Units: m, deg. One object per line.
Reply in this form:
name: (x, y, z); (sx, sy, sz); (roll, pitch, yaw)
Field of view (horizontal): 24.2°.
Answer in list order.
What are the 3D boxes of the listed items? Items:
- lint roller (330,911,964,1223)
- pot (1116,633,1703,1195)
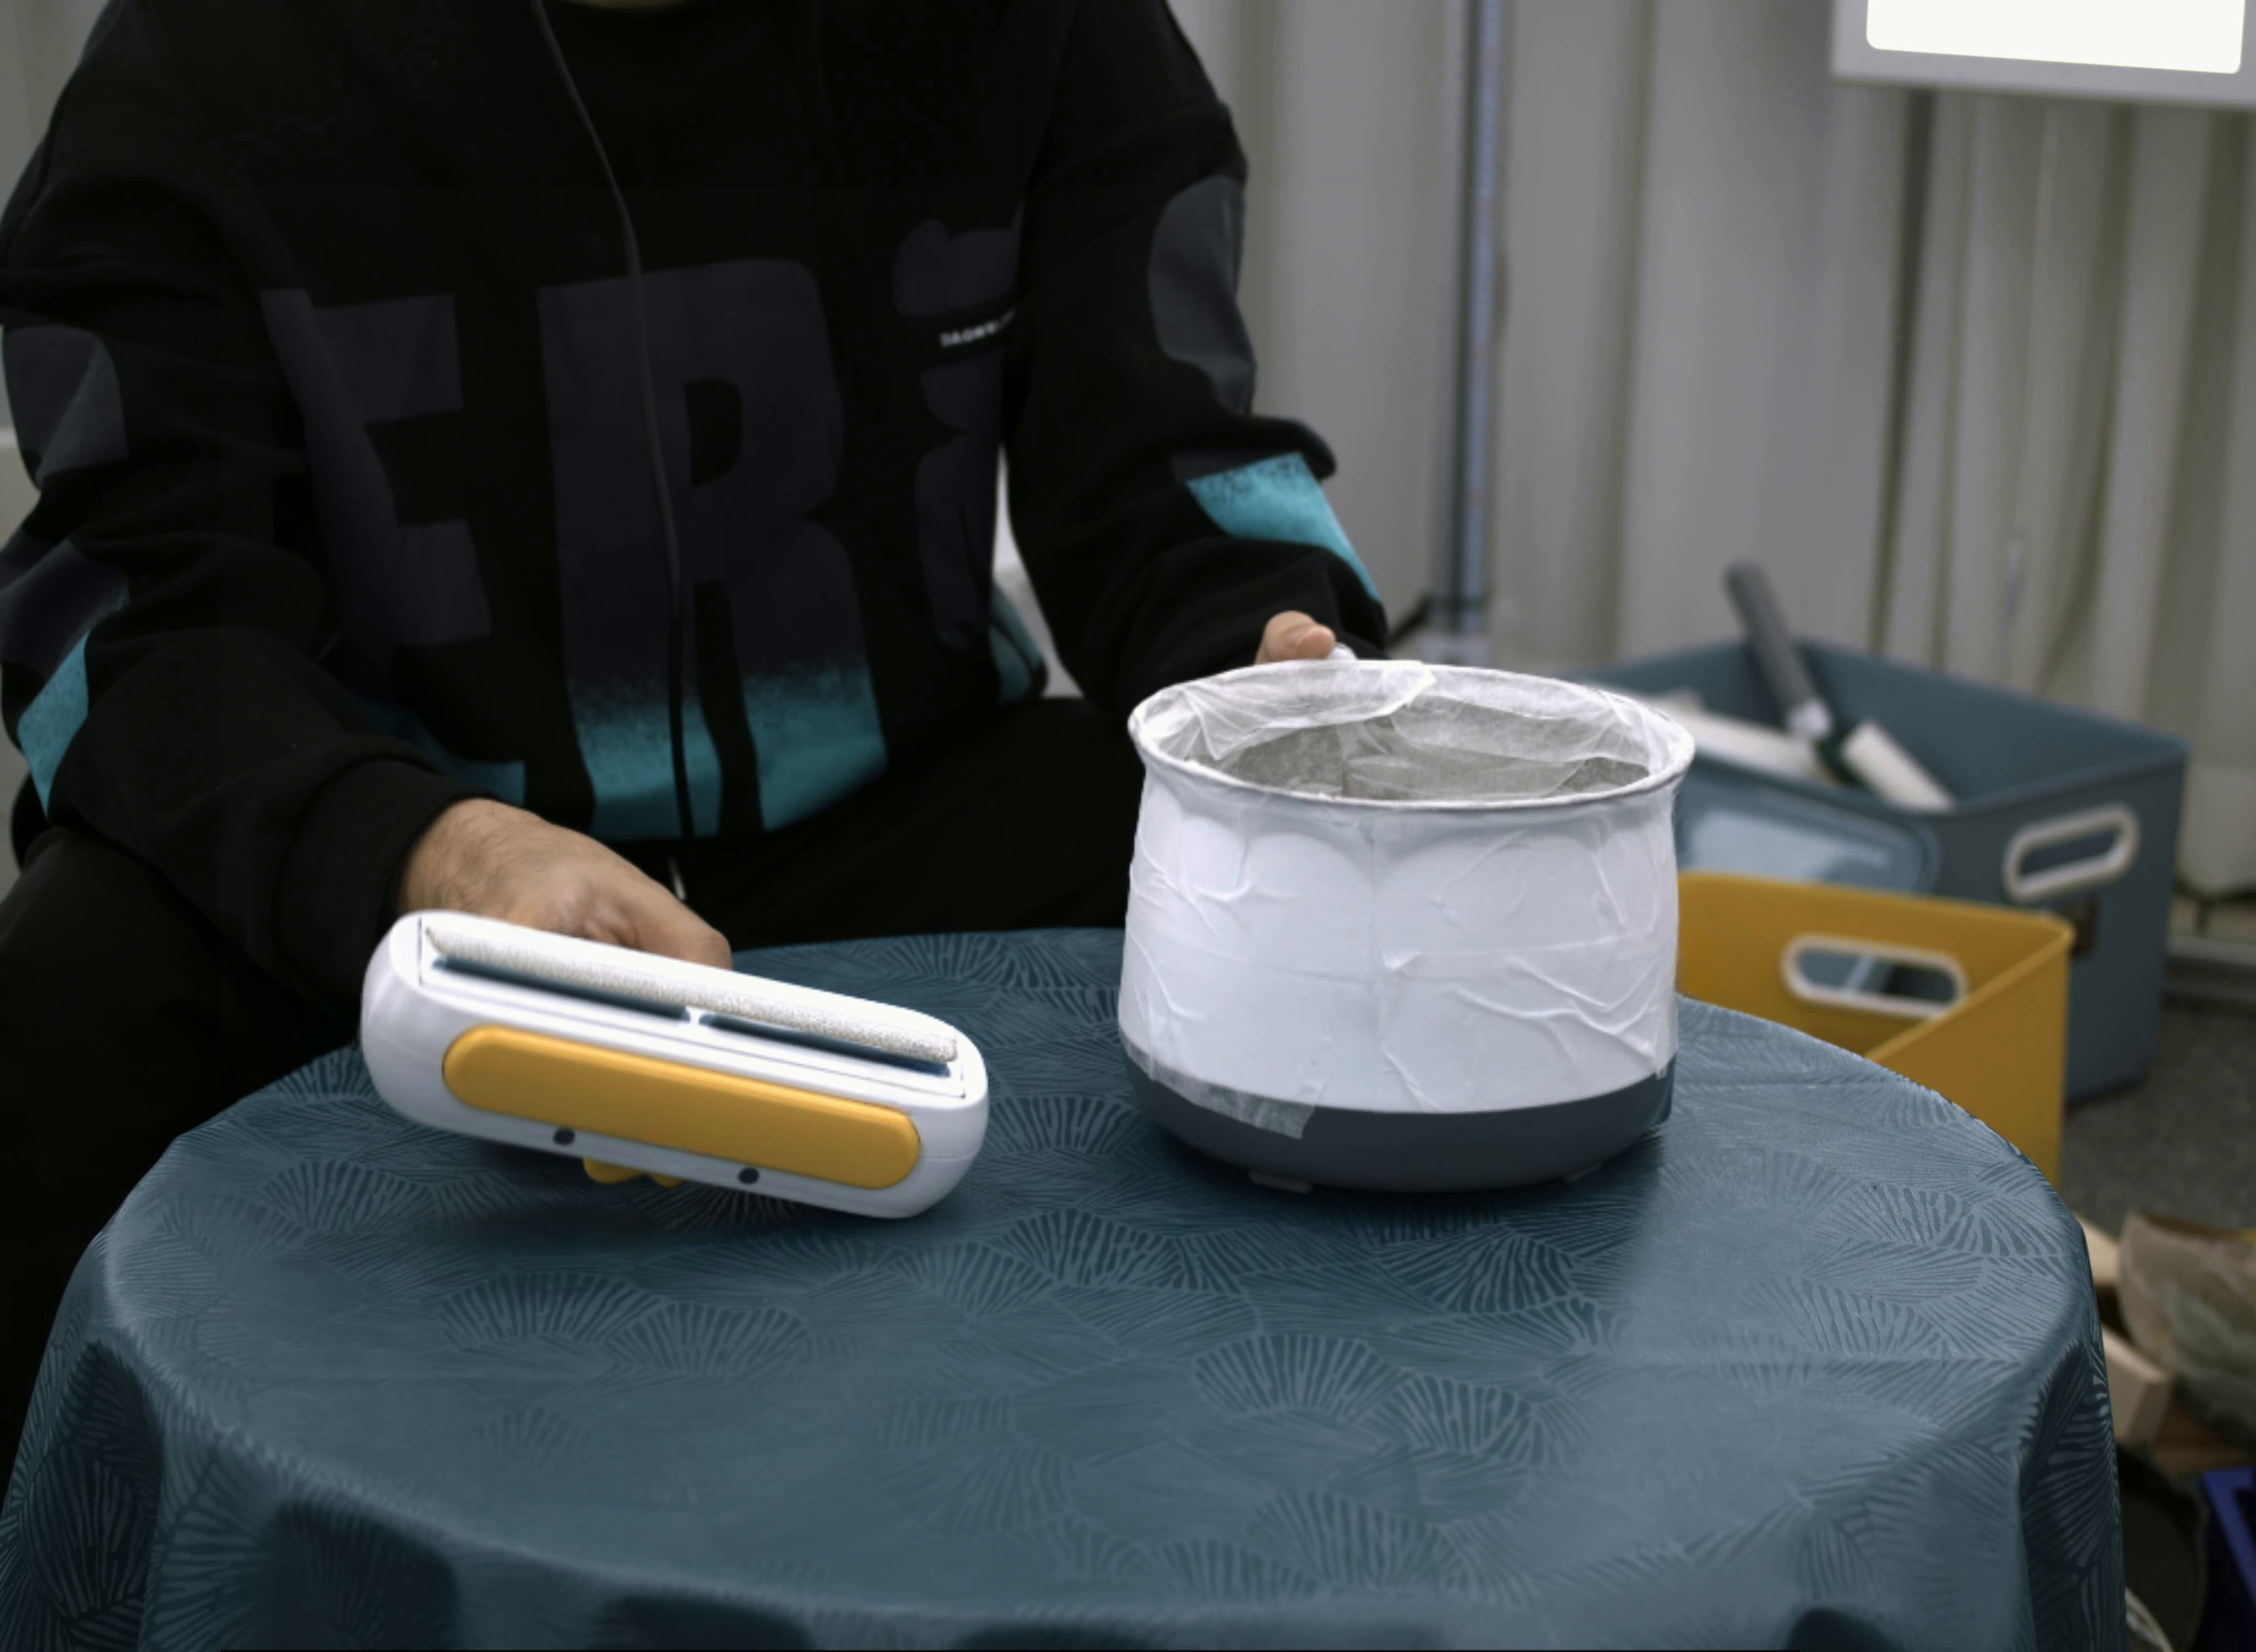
lint roller: (-0.151, 0.061, 1.638); (0.193, 0.075, 0.191); (9, 17, -10)
pot: (0.079, 0.023, 1.675); (0.179, 0.138, 0.231); (0, 17, -14)
